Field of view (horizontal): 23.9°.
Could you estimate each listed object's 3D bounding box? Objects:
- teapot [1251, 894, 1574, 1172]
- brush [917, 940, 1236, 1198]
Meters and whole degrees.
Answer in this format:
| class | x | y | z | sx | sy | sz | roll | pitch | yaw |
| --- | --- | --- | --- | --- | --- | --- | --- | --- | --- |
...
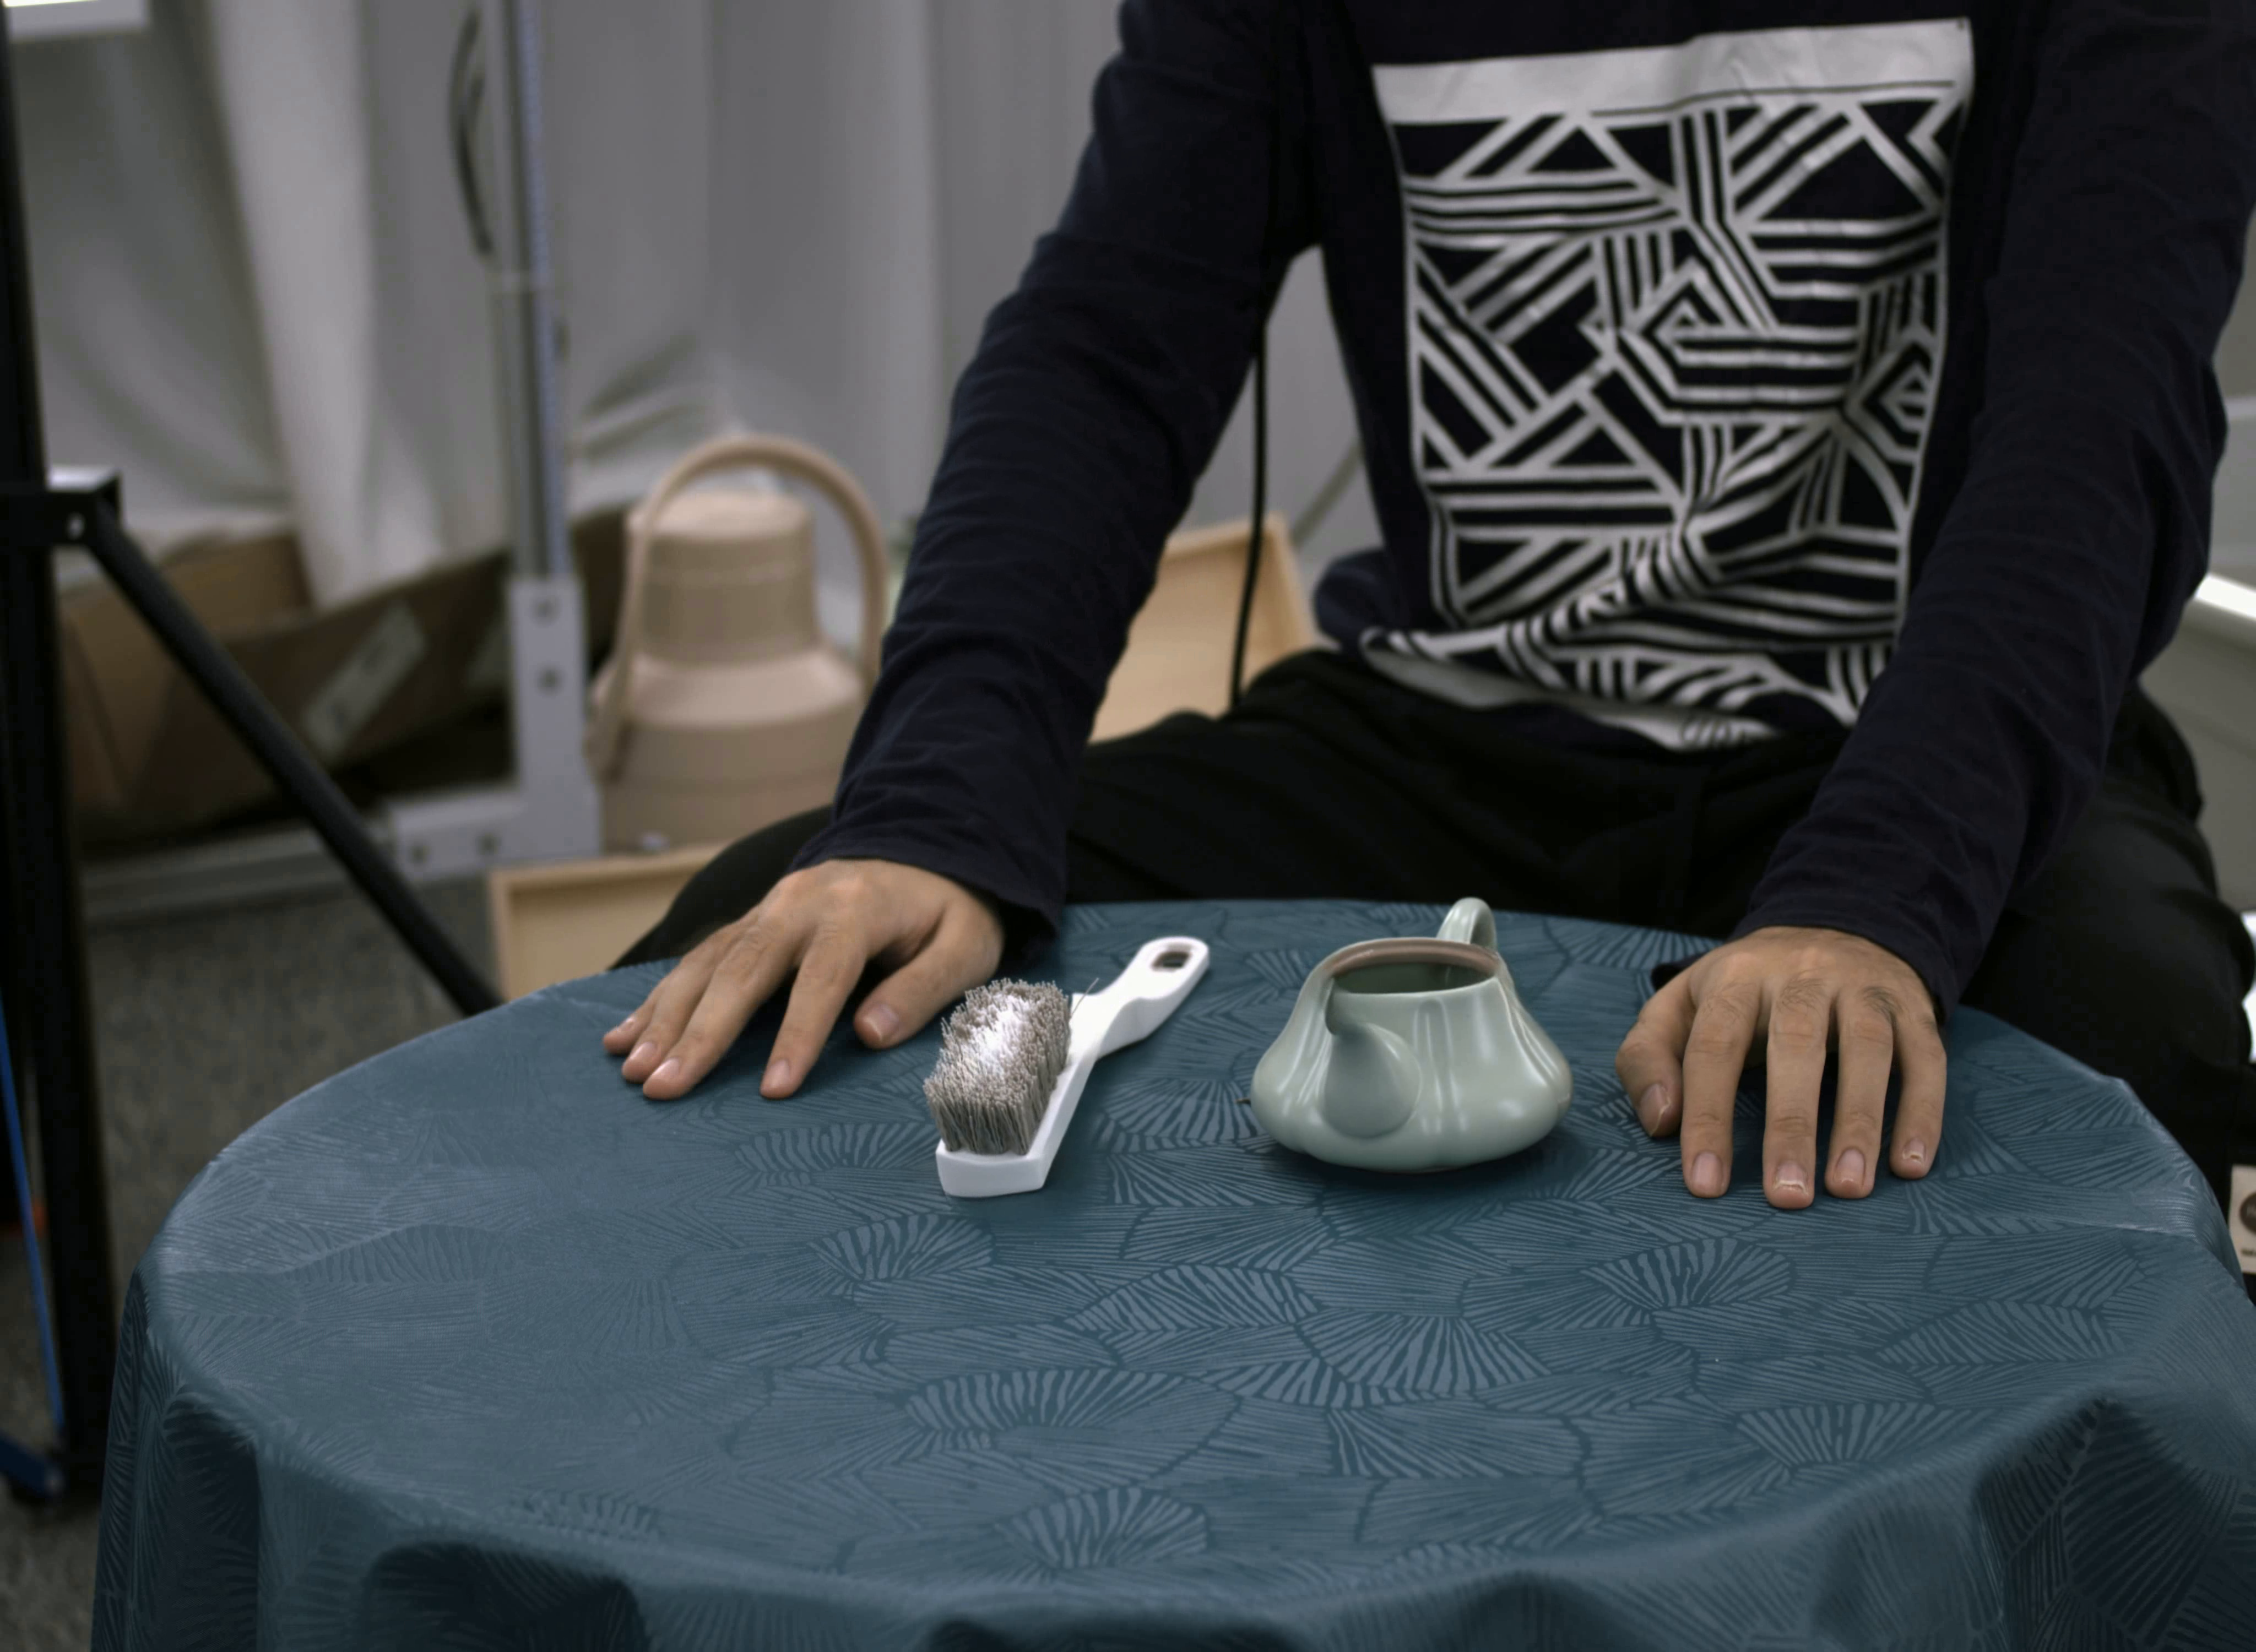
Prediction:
| class | x | y | z | sx | sy | sz | roll | pitch | yaw |
| --- | --- | --- | --- | --- | --- | --- | --- | --- | --- |
| teapot | 0.086 | 0.065 | 1.587 | 0.097 | 0.061 | 0.135 | 0 | 16 | 20 |
| brush | -0.012 | 0.056 | 1.660 | 0.035 | 0.050 | 0.241 | -2 | 15 | 19 |
